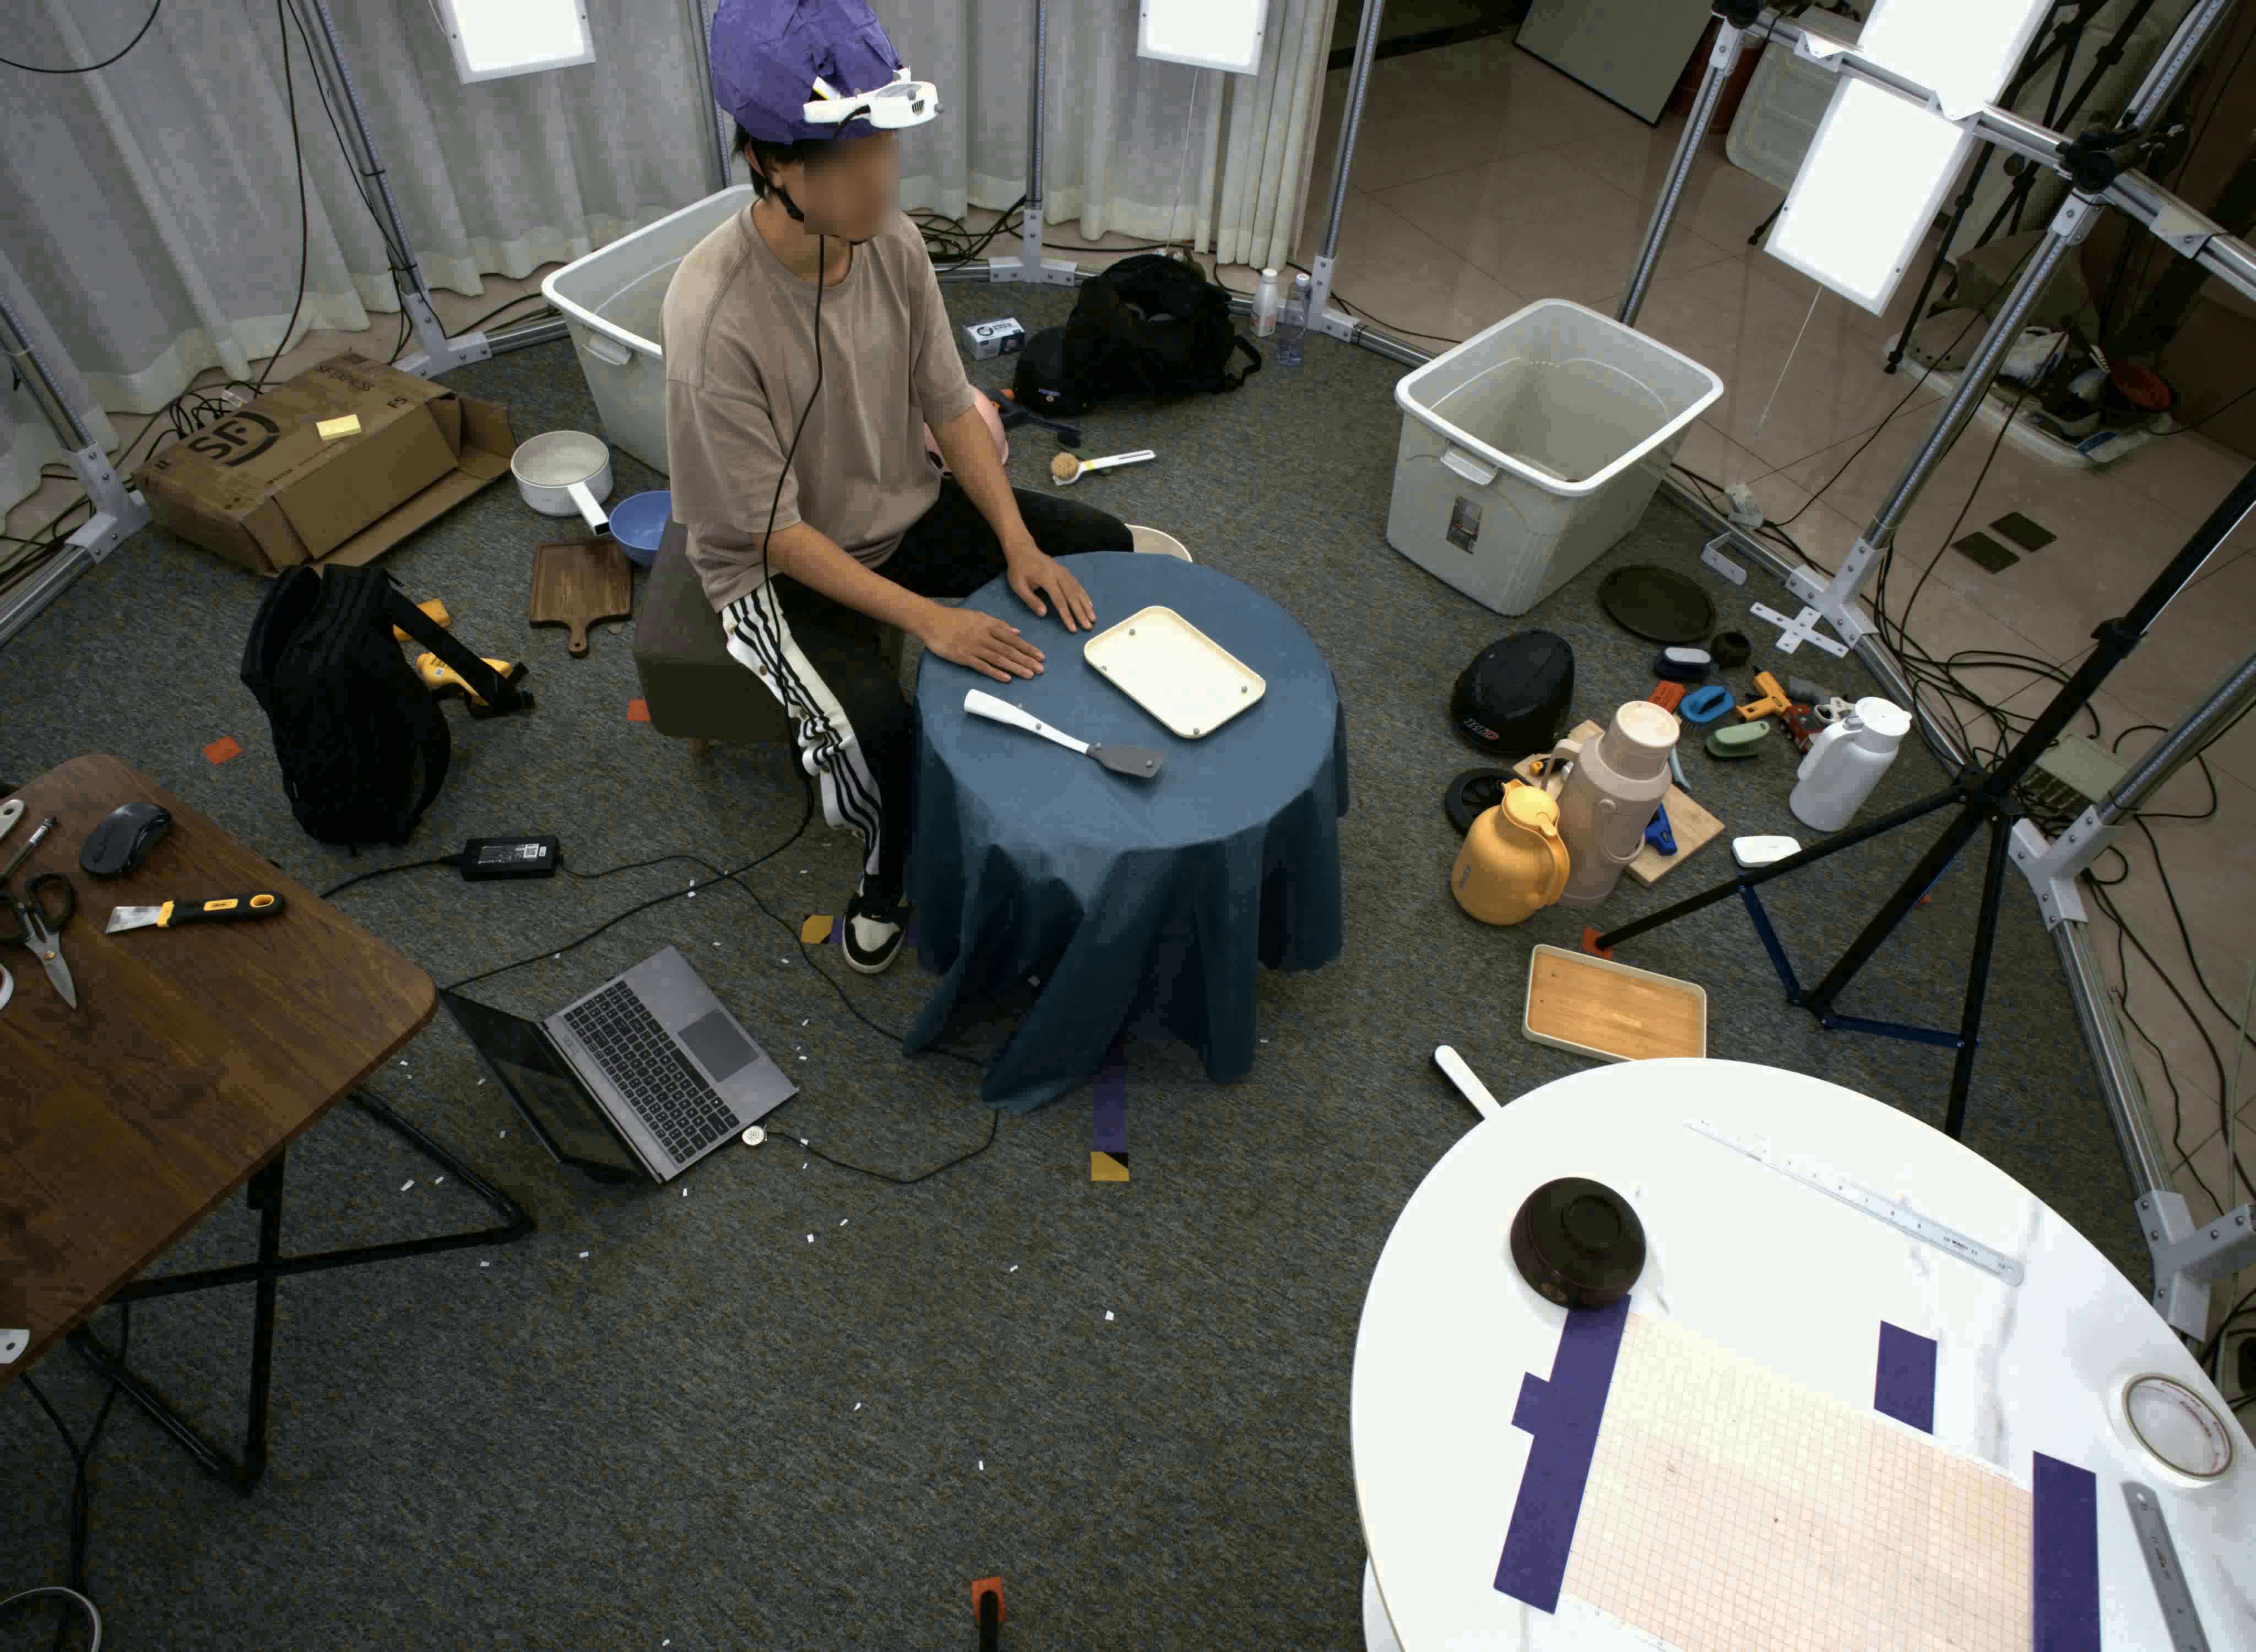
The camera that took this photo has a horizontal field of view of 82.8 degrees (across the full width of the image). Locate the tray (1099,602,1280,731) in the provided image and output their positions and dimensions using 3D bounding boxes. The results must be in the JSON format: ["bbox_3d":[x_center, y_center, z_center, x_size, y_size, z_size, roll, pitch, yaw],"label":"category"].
[{"bbox_3d":[0.087,-0.231,1.851,0.172,0.017,0.243,-32,58,-30],"label":"tray"}]

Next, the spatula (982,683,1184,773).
[{"bbox_3d":[-0.063,-0.133,1.739,0.289,0.031,0.060,21,46,13],"label":"spatula"}]
